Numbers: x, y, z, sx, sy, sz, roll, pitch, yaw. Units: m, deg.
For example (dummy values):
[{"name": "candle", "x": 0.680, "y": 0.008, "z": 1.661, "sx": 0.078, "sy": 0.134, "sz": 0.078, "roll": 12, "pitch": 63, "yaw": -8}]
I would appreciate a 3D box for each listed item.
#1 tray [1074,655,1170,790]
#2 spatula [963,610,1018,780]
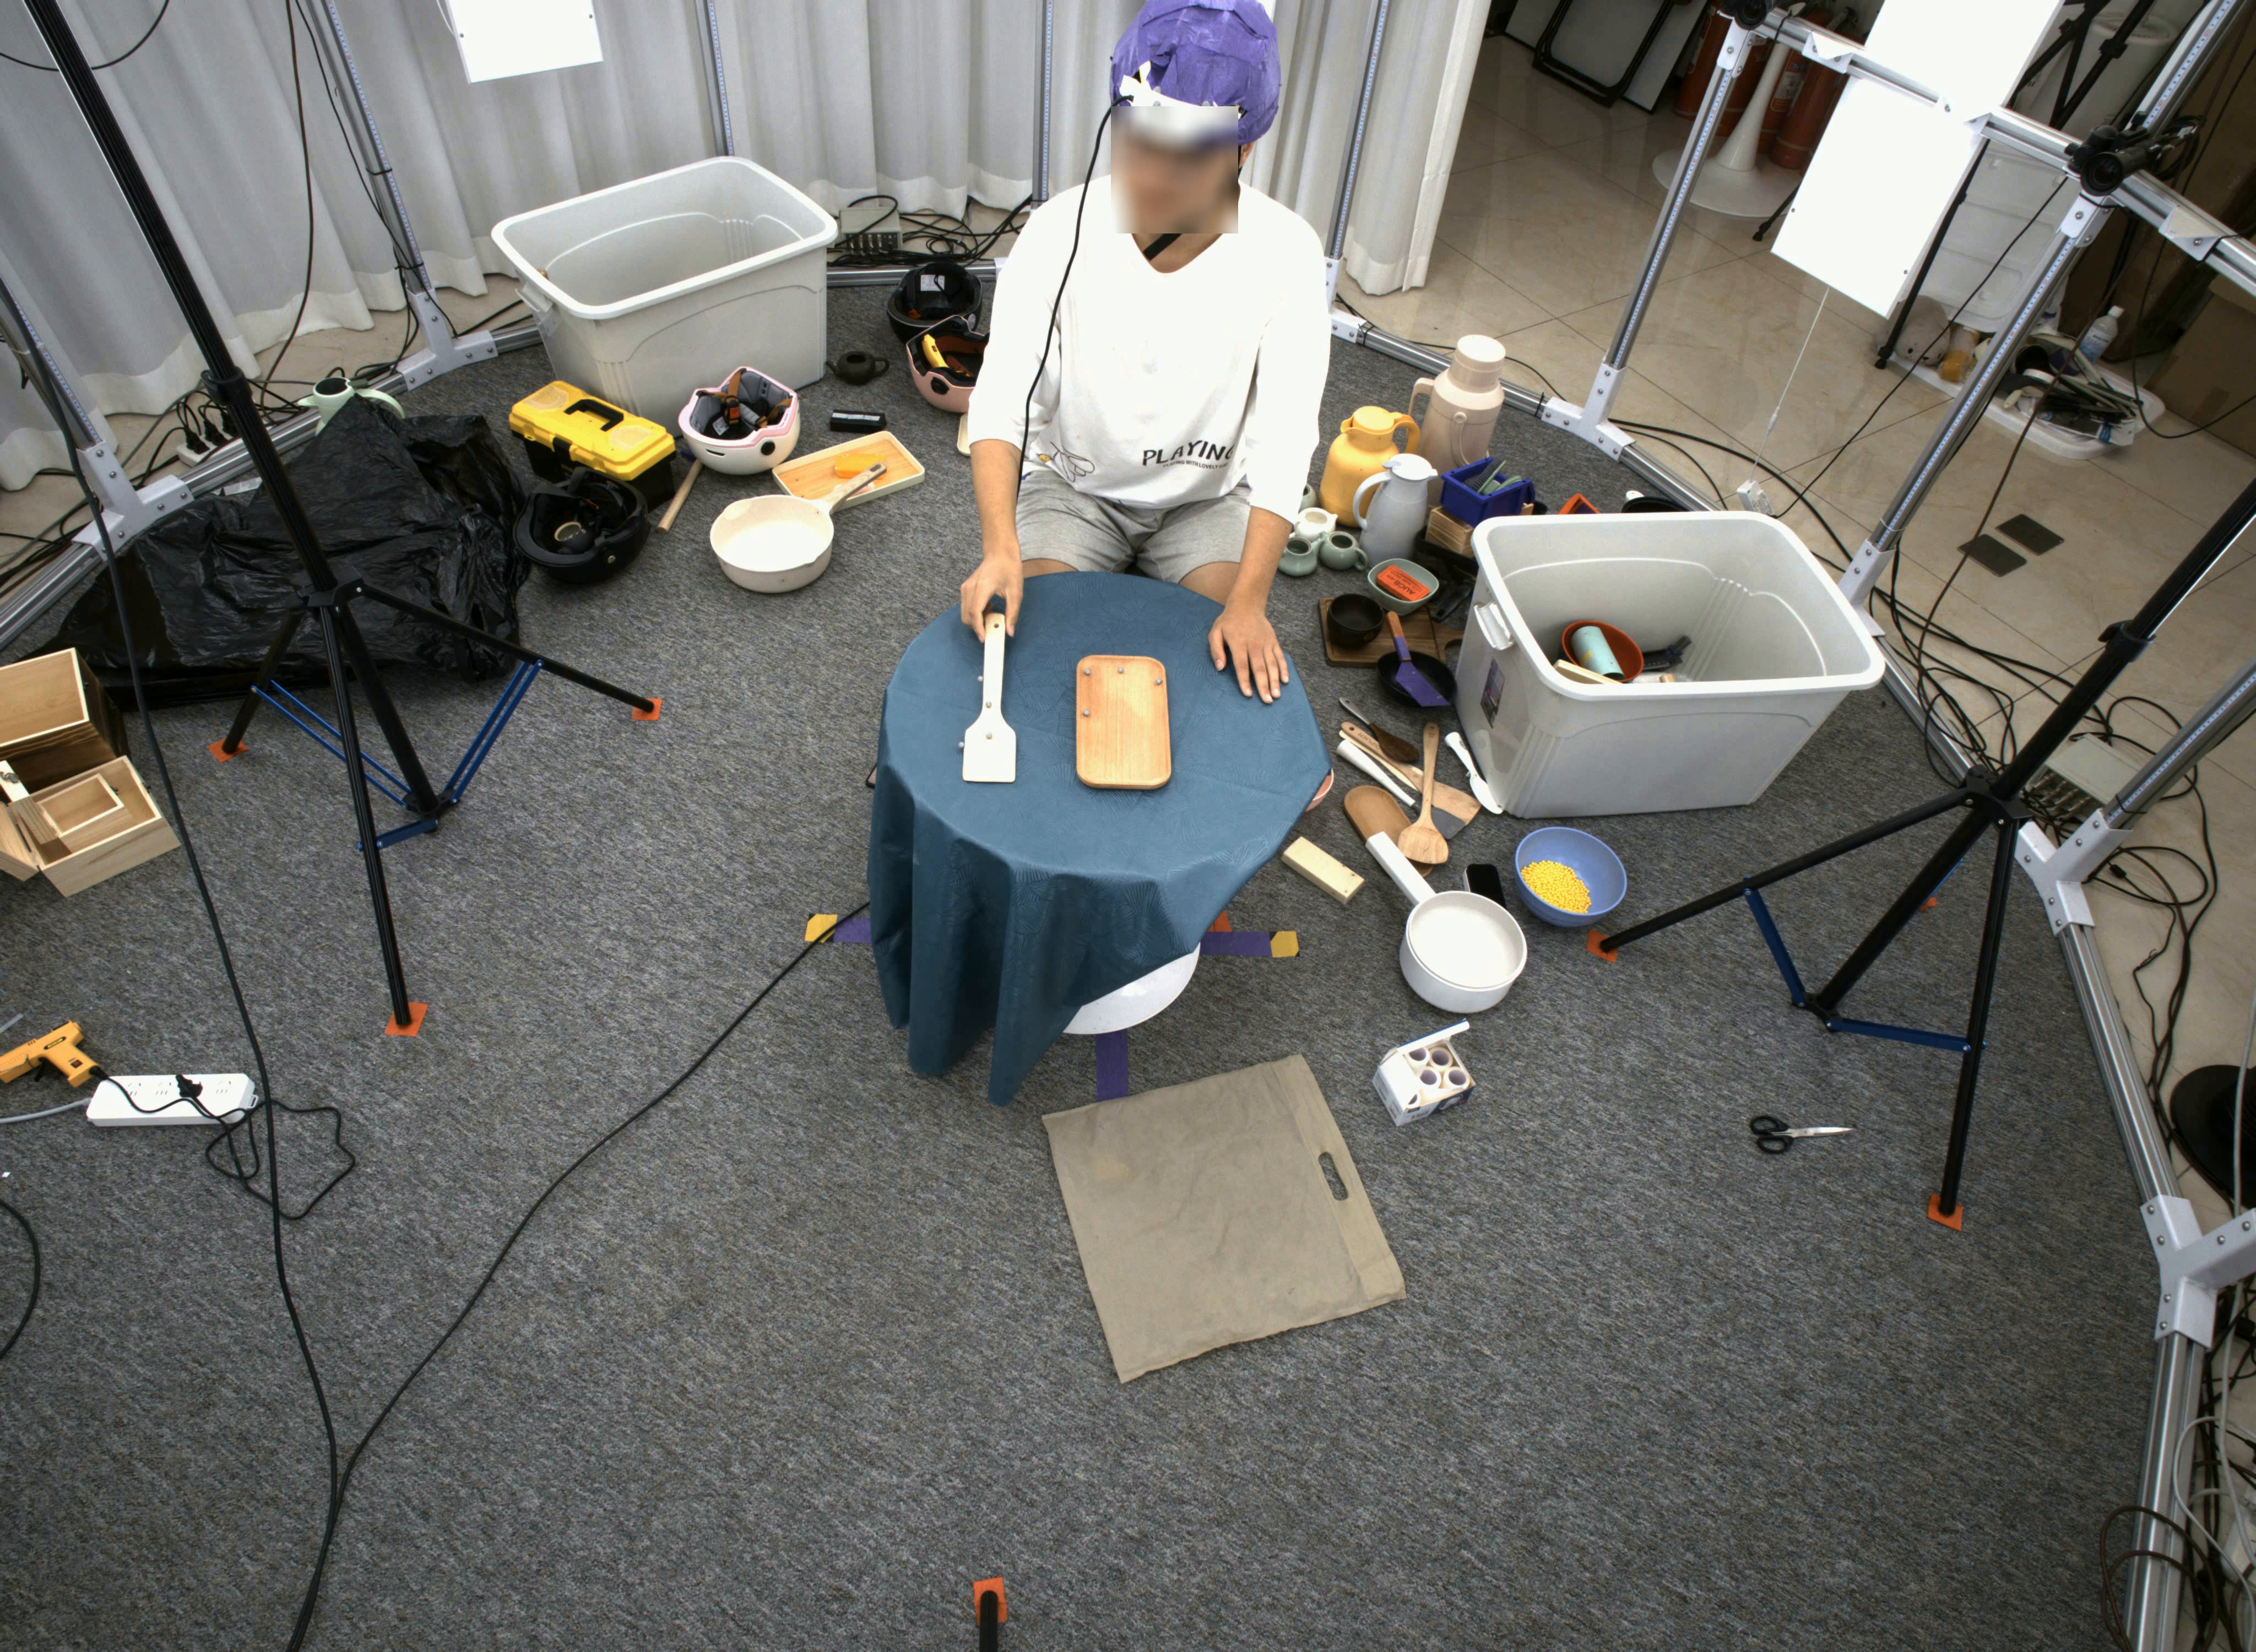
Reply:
[{"name": "tray", "x": -0.009, "y": -0.146, "z": 1.780, "sx": 0.130, "sy": 0.022, "sz": 0.257, "roll": 1, "pitch": 49, "yaw": 0}, {"name": "spatula", "x": -0.187, "y": -0.186, "z": 1.784, "sx": 0.072, "sy": 0.010, "sz": 0.300, "roll": 1, "pitch": 57, "yaw": -4}]
